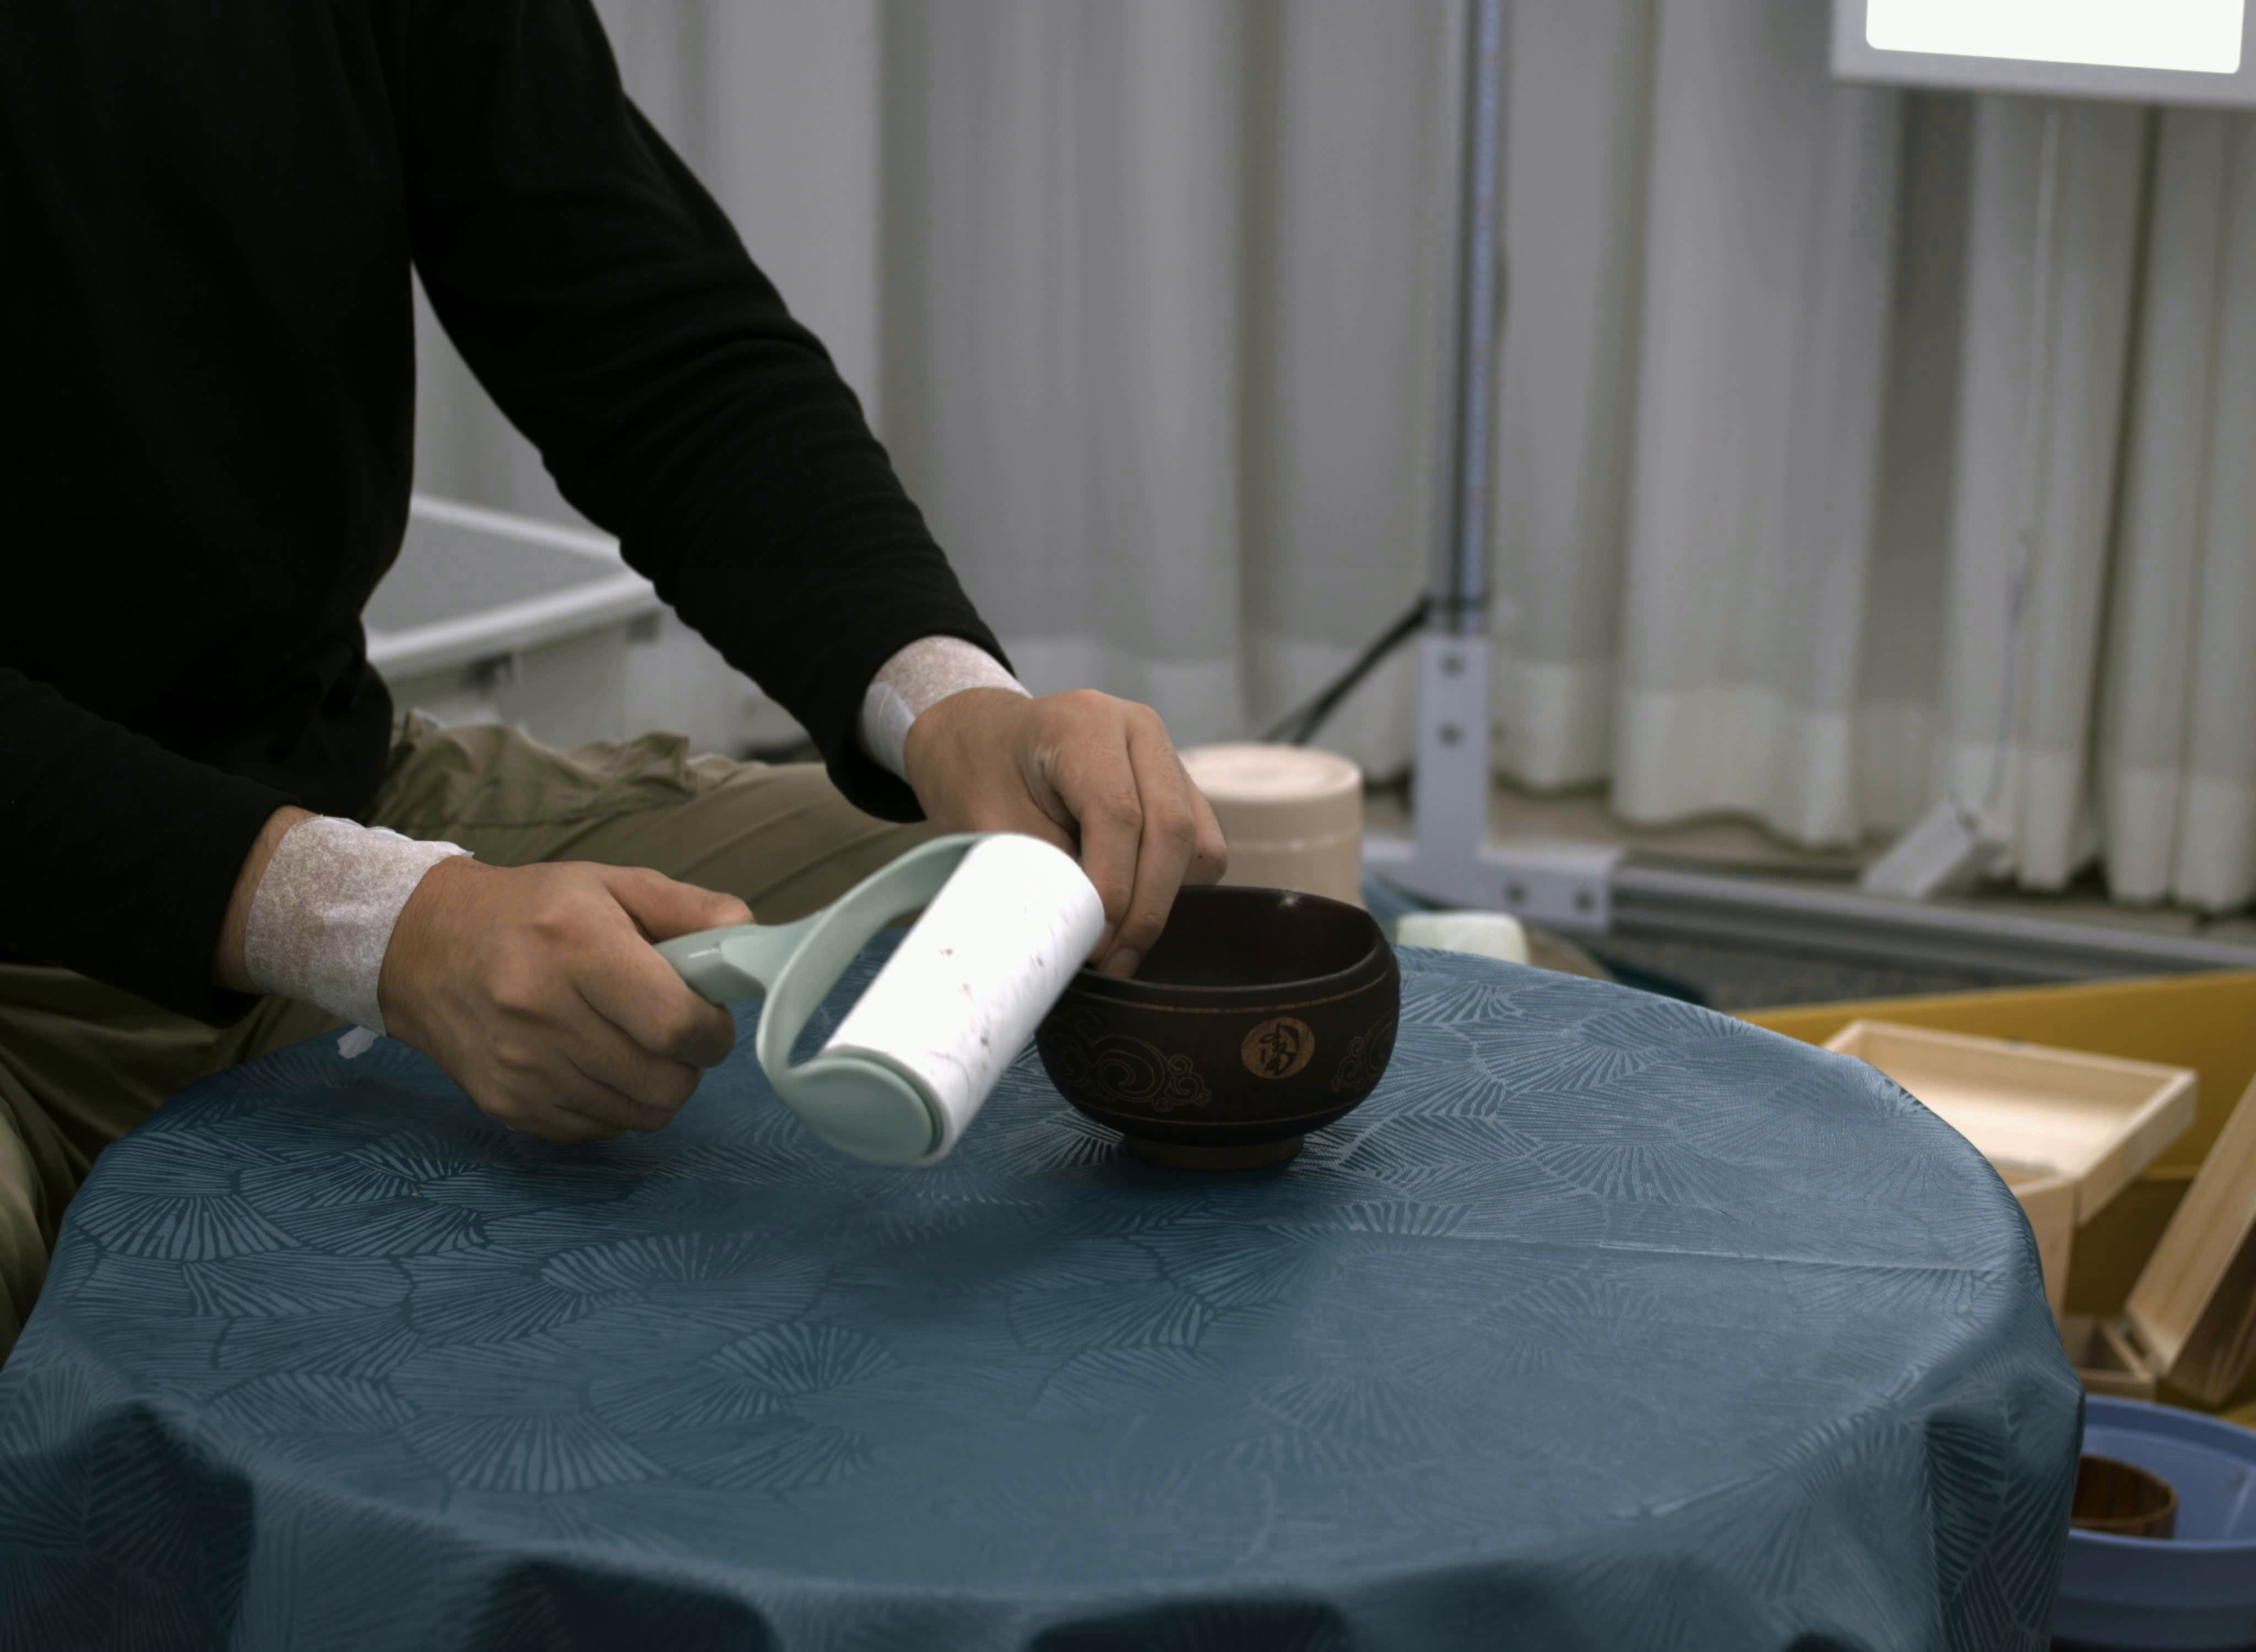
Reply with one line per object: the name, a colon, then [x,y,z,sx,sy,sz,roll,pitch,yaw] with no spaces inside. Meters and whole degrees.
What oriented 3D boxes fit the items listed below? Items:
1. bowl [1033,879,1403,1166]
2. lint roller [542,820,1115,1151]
bowl: [0.028,0.065,1.655,0.117,0.070,0.117,0,16,1]
lint roller: [-0.105,0.049,1.606,0.195,0.049,0.116,-2,38,34]
